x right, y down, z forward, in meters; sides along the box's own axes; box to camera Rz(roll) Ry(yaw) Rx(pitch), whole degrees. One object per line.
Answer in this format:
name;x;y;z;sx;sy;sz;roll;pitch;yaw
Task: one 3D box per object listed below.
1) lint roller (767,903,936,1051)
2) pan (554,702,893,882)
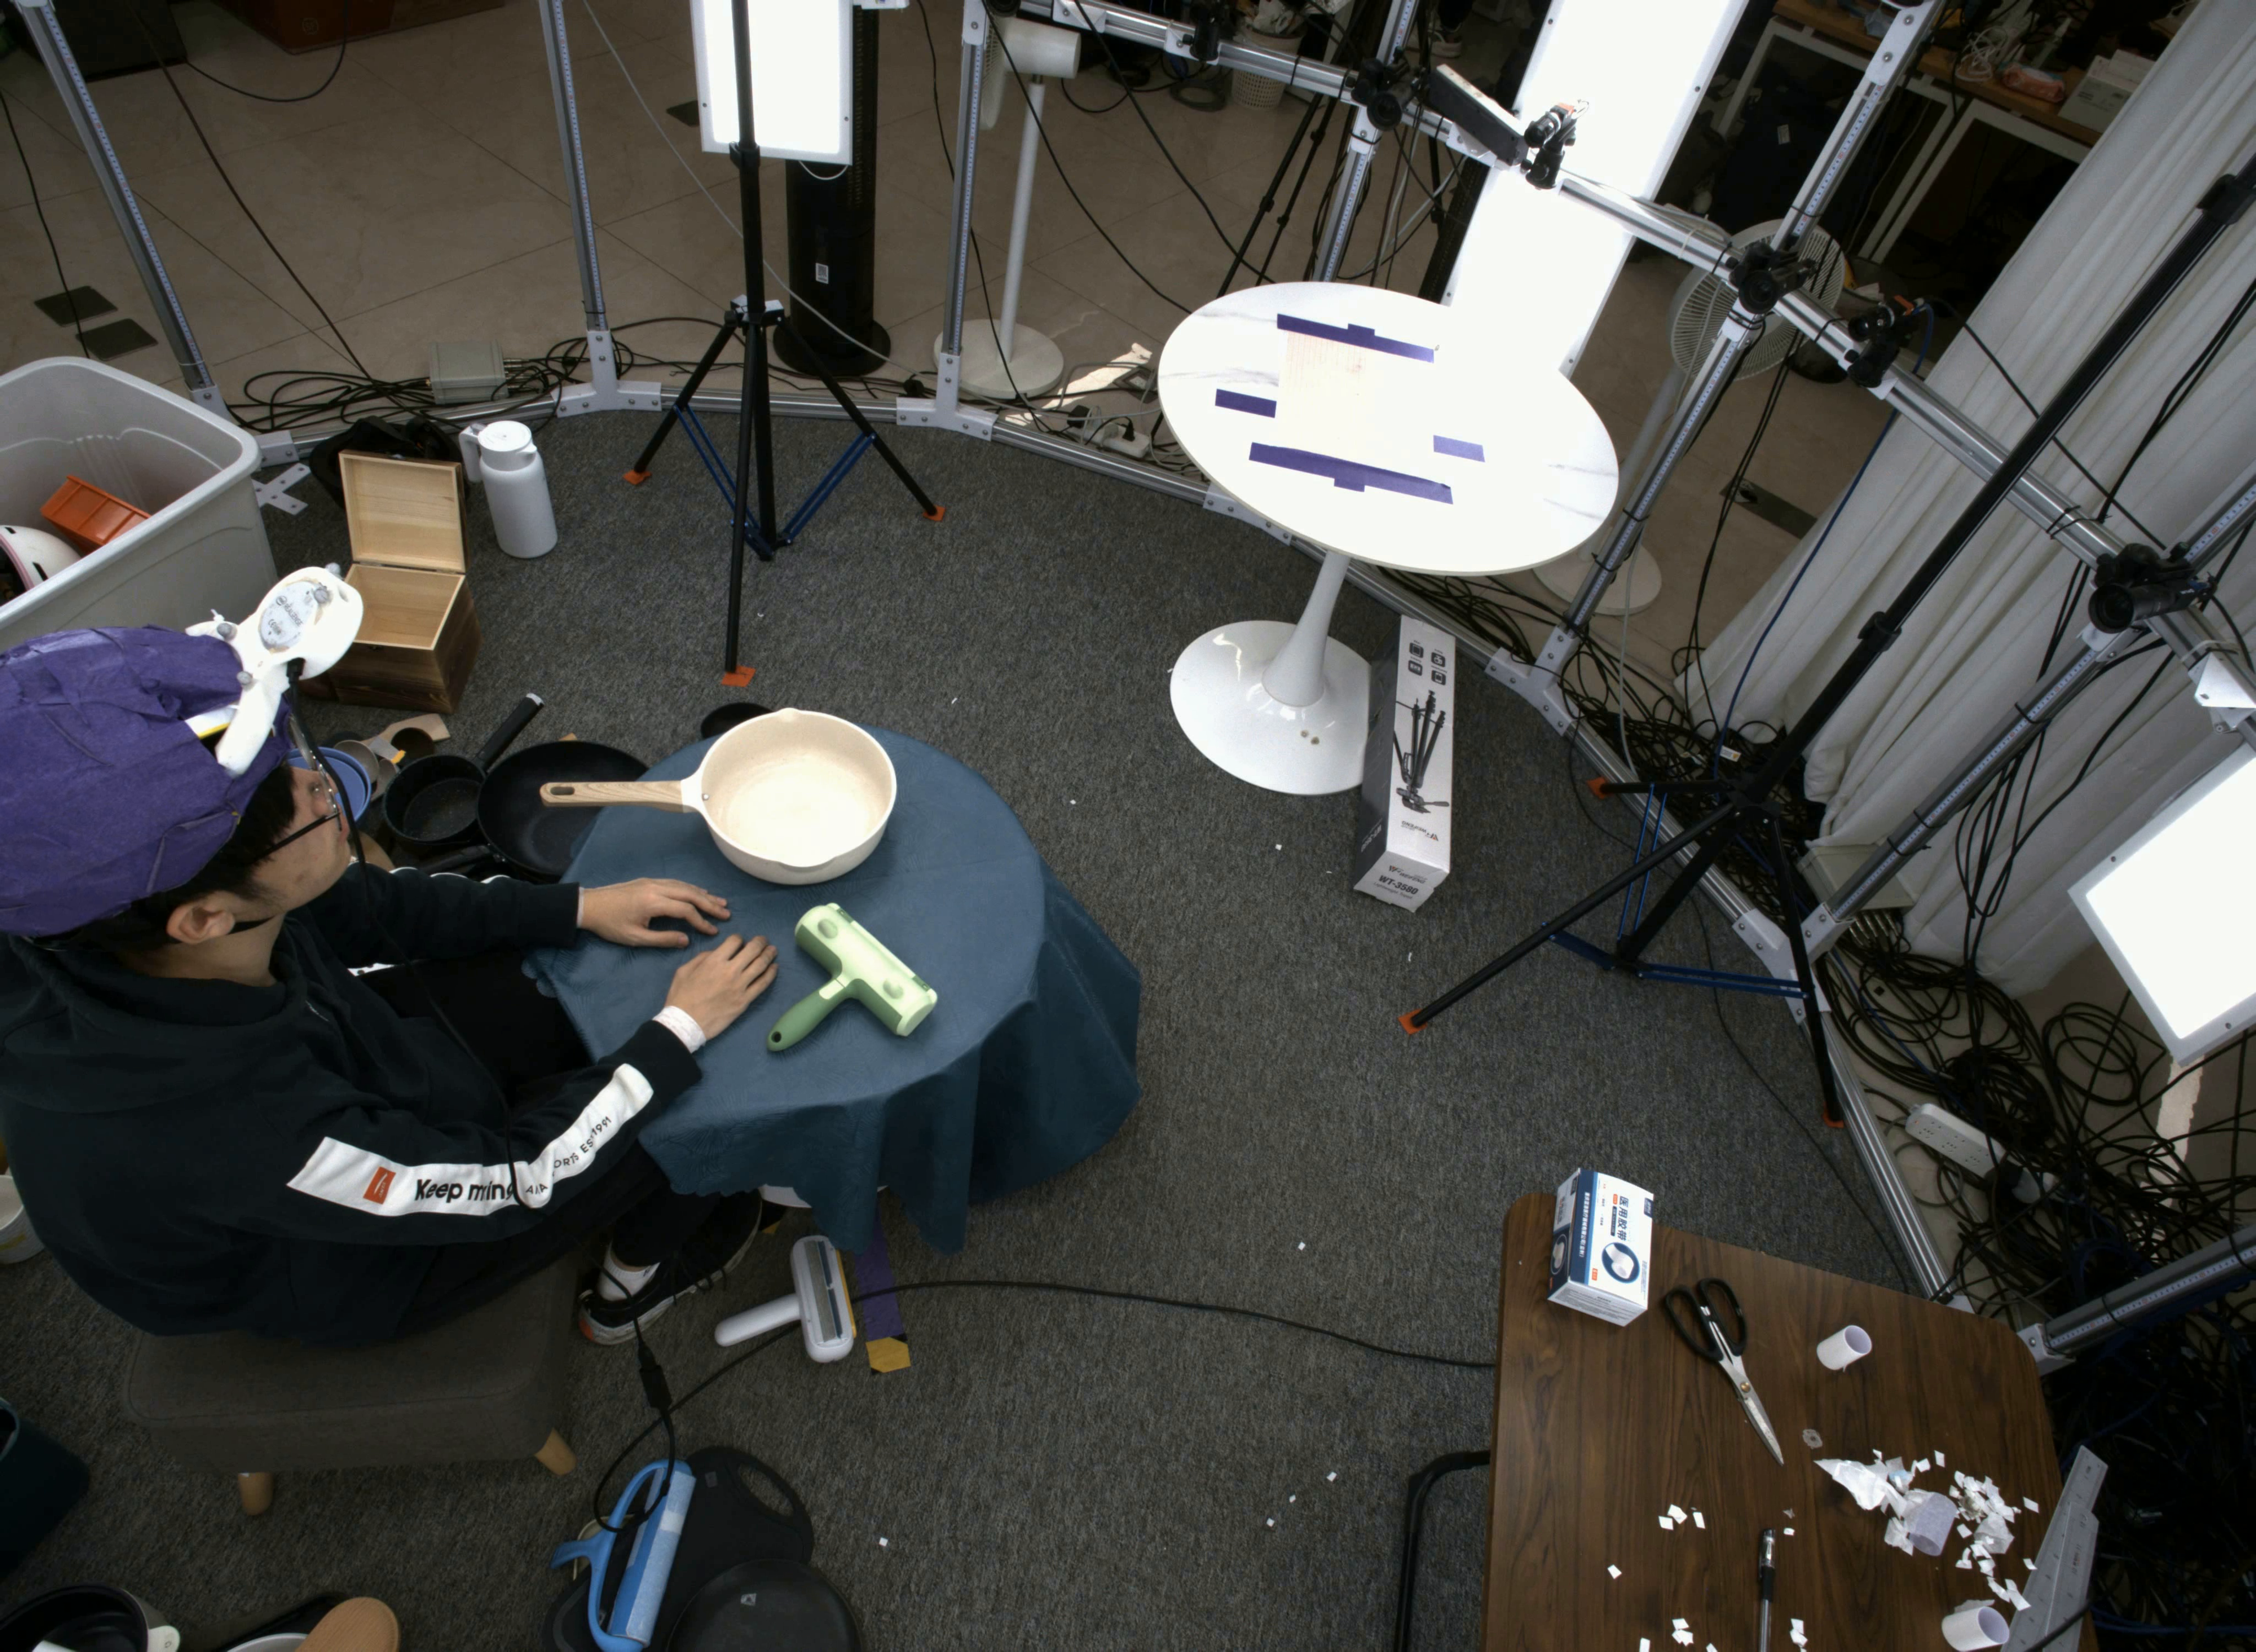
lint roller;-0.359;0.194;1.554;0.194;0.084;0.184;39;49;15
pan;-0.521;-0.032;1.664;0.436;0.104;0.257;-6;57;-19
